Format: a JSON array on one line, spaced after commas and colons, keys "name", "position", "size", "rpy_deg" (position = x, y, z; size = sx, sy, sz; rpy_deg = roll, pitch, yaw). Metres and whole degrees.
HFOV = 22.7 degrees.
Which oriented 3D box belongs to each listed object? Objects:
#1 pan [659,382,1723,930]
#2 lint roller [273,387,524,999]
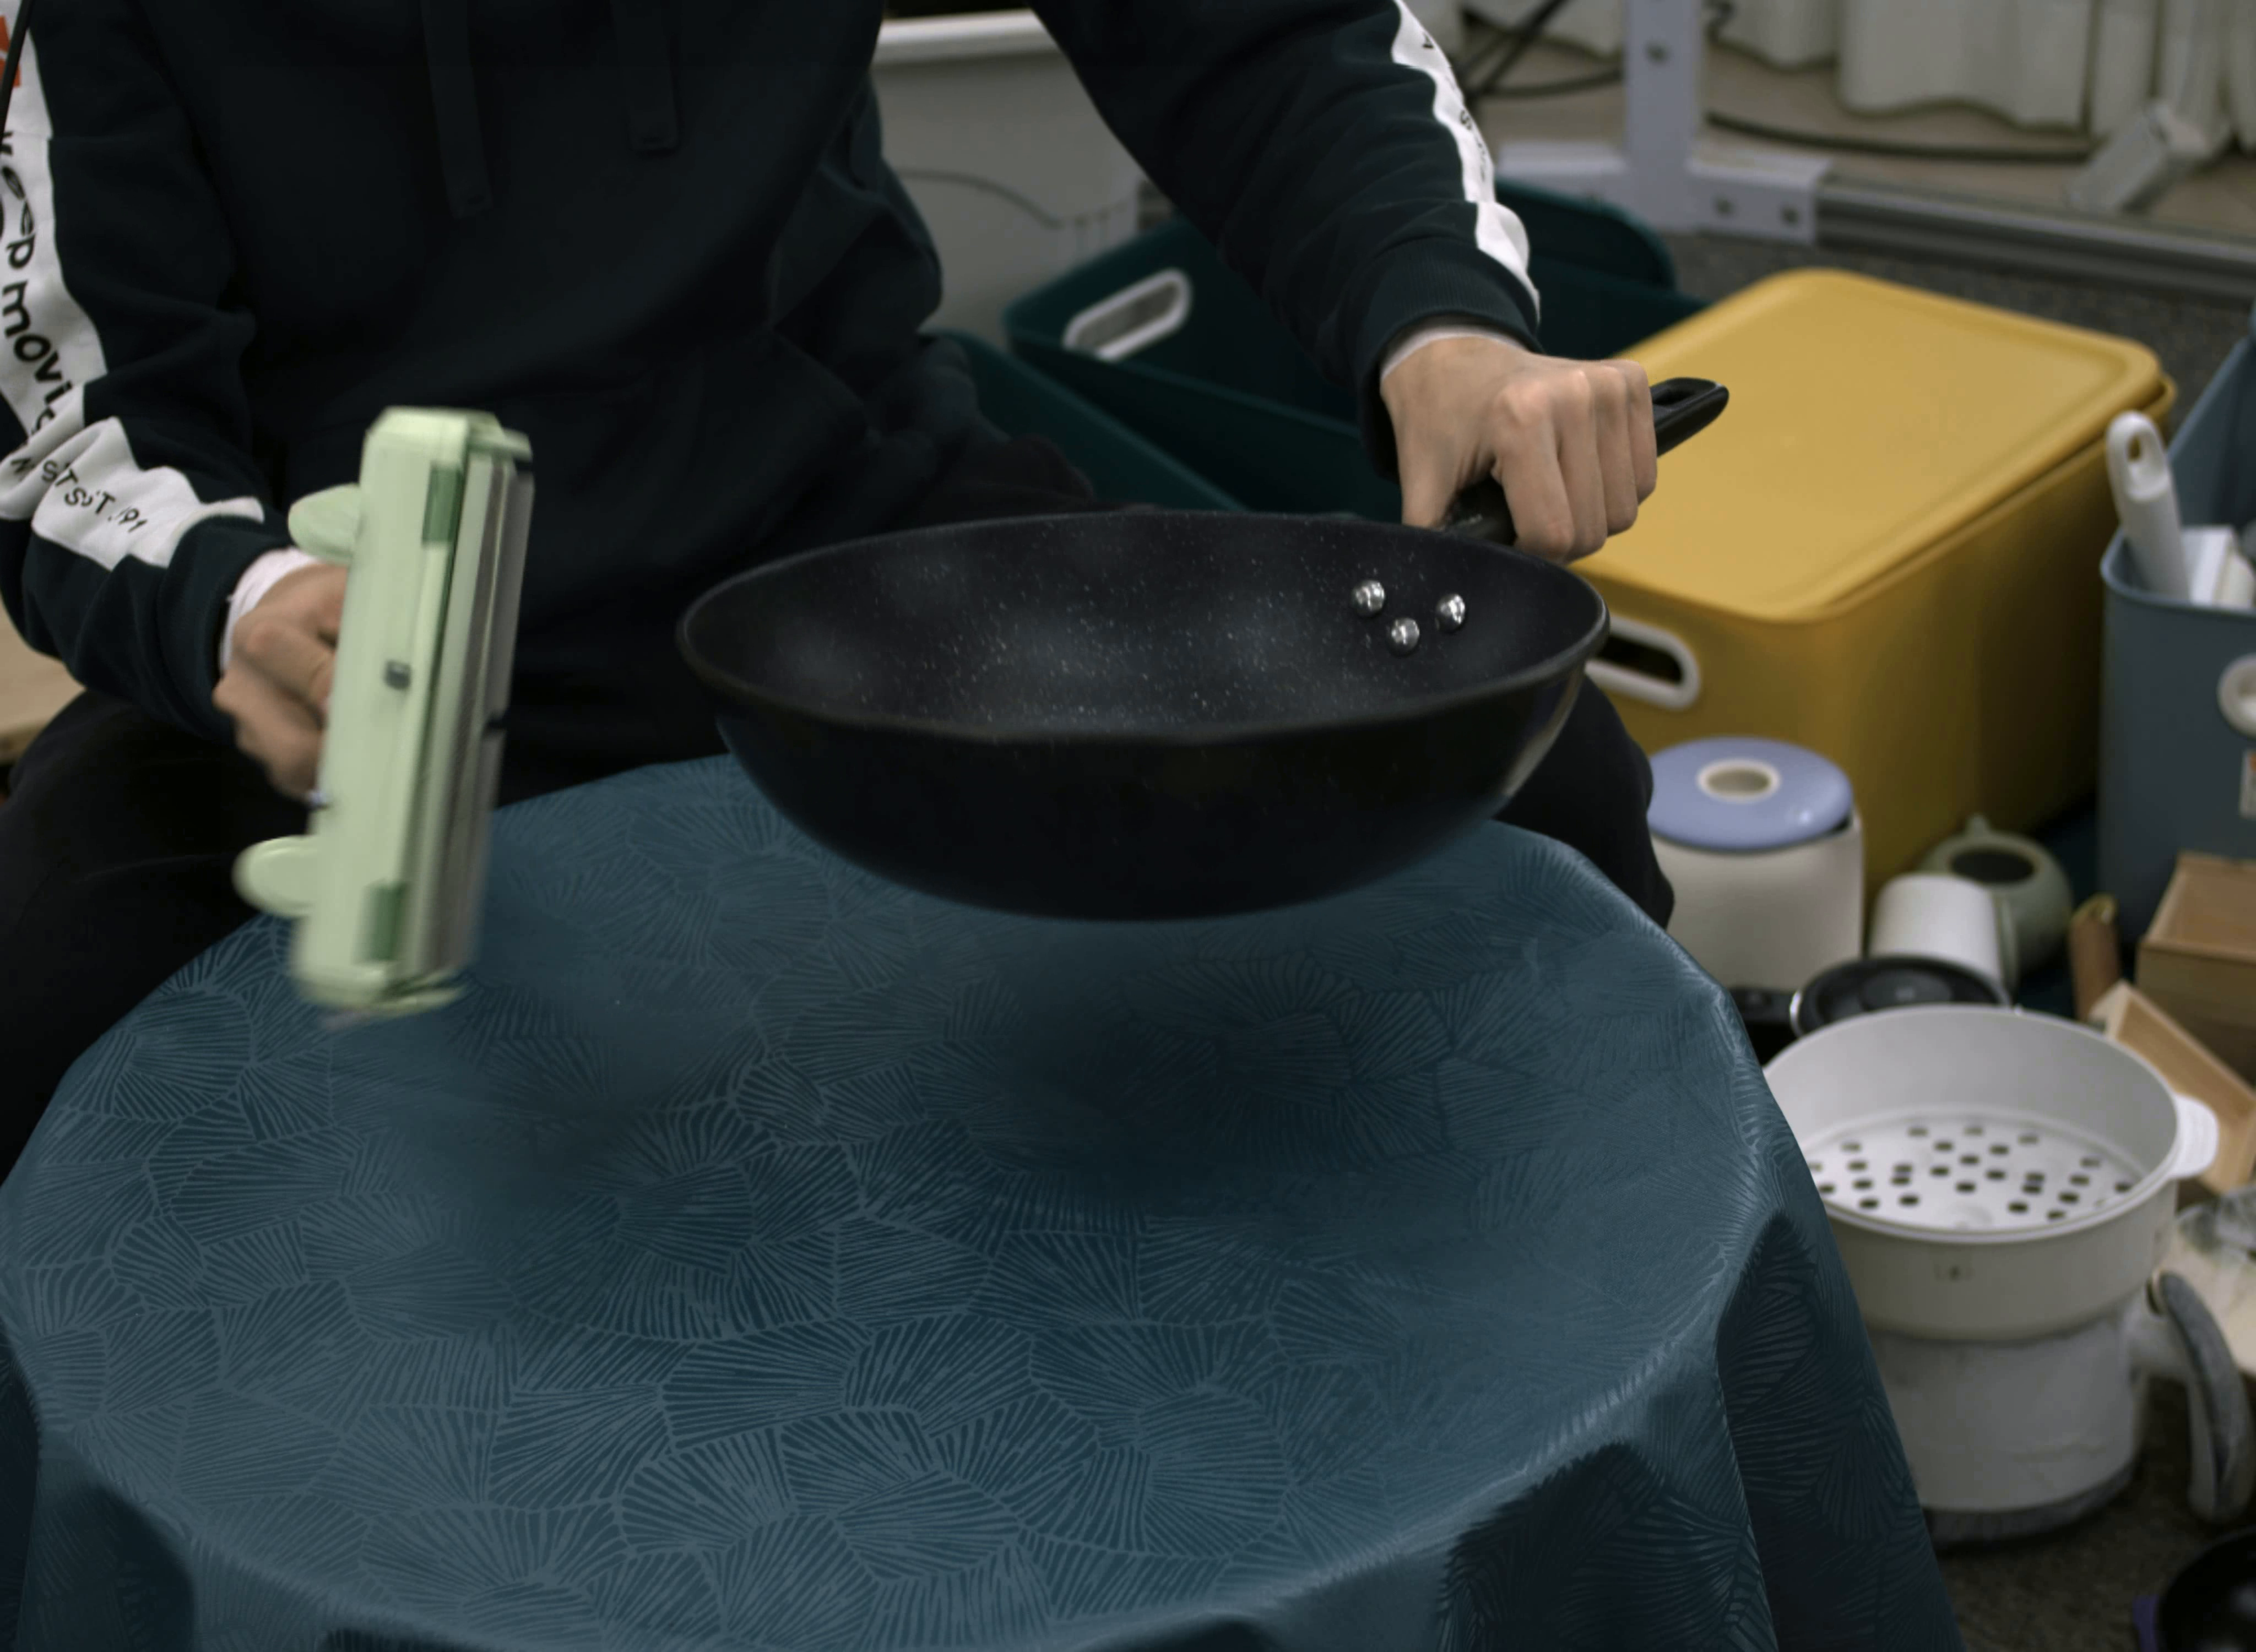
[{"name": "pan", "position": [0.055, -0.059, 1.922], "size": [0.308, 0.111, 0.482], "rpy_deg": [13, 21, 39]}, {"name": "lint roller", "position": [-0.258, -0.046, 1.883], "size": [0.082, 0.199, 0.182], "rpy_deg": [3, 1, -26]}]
